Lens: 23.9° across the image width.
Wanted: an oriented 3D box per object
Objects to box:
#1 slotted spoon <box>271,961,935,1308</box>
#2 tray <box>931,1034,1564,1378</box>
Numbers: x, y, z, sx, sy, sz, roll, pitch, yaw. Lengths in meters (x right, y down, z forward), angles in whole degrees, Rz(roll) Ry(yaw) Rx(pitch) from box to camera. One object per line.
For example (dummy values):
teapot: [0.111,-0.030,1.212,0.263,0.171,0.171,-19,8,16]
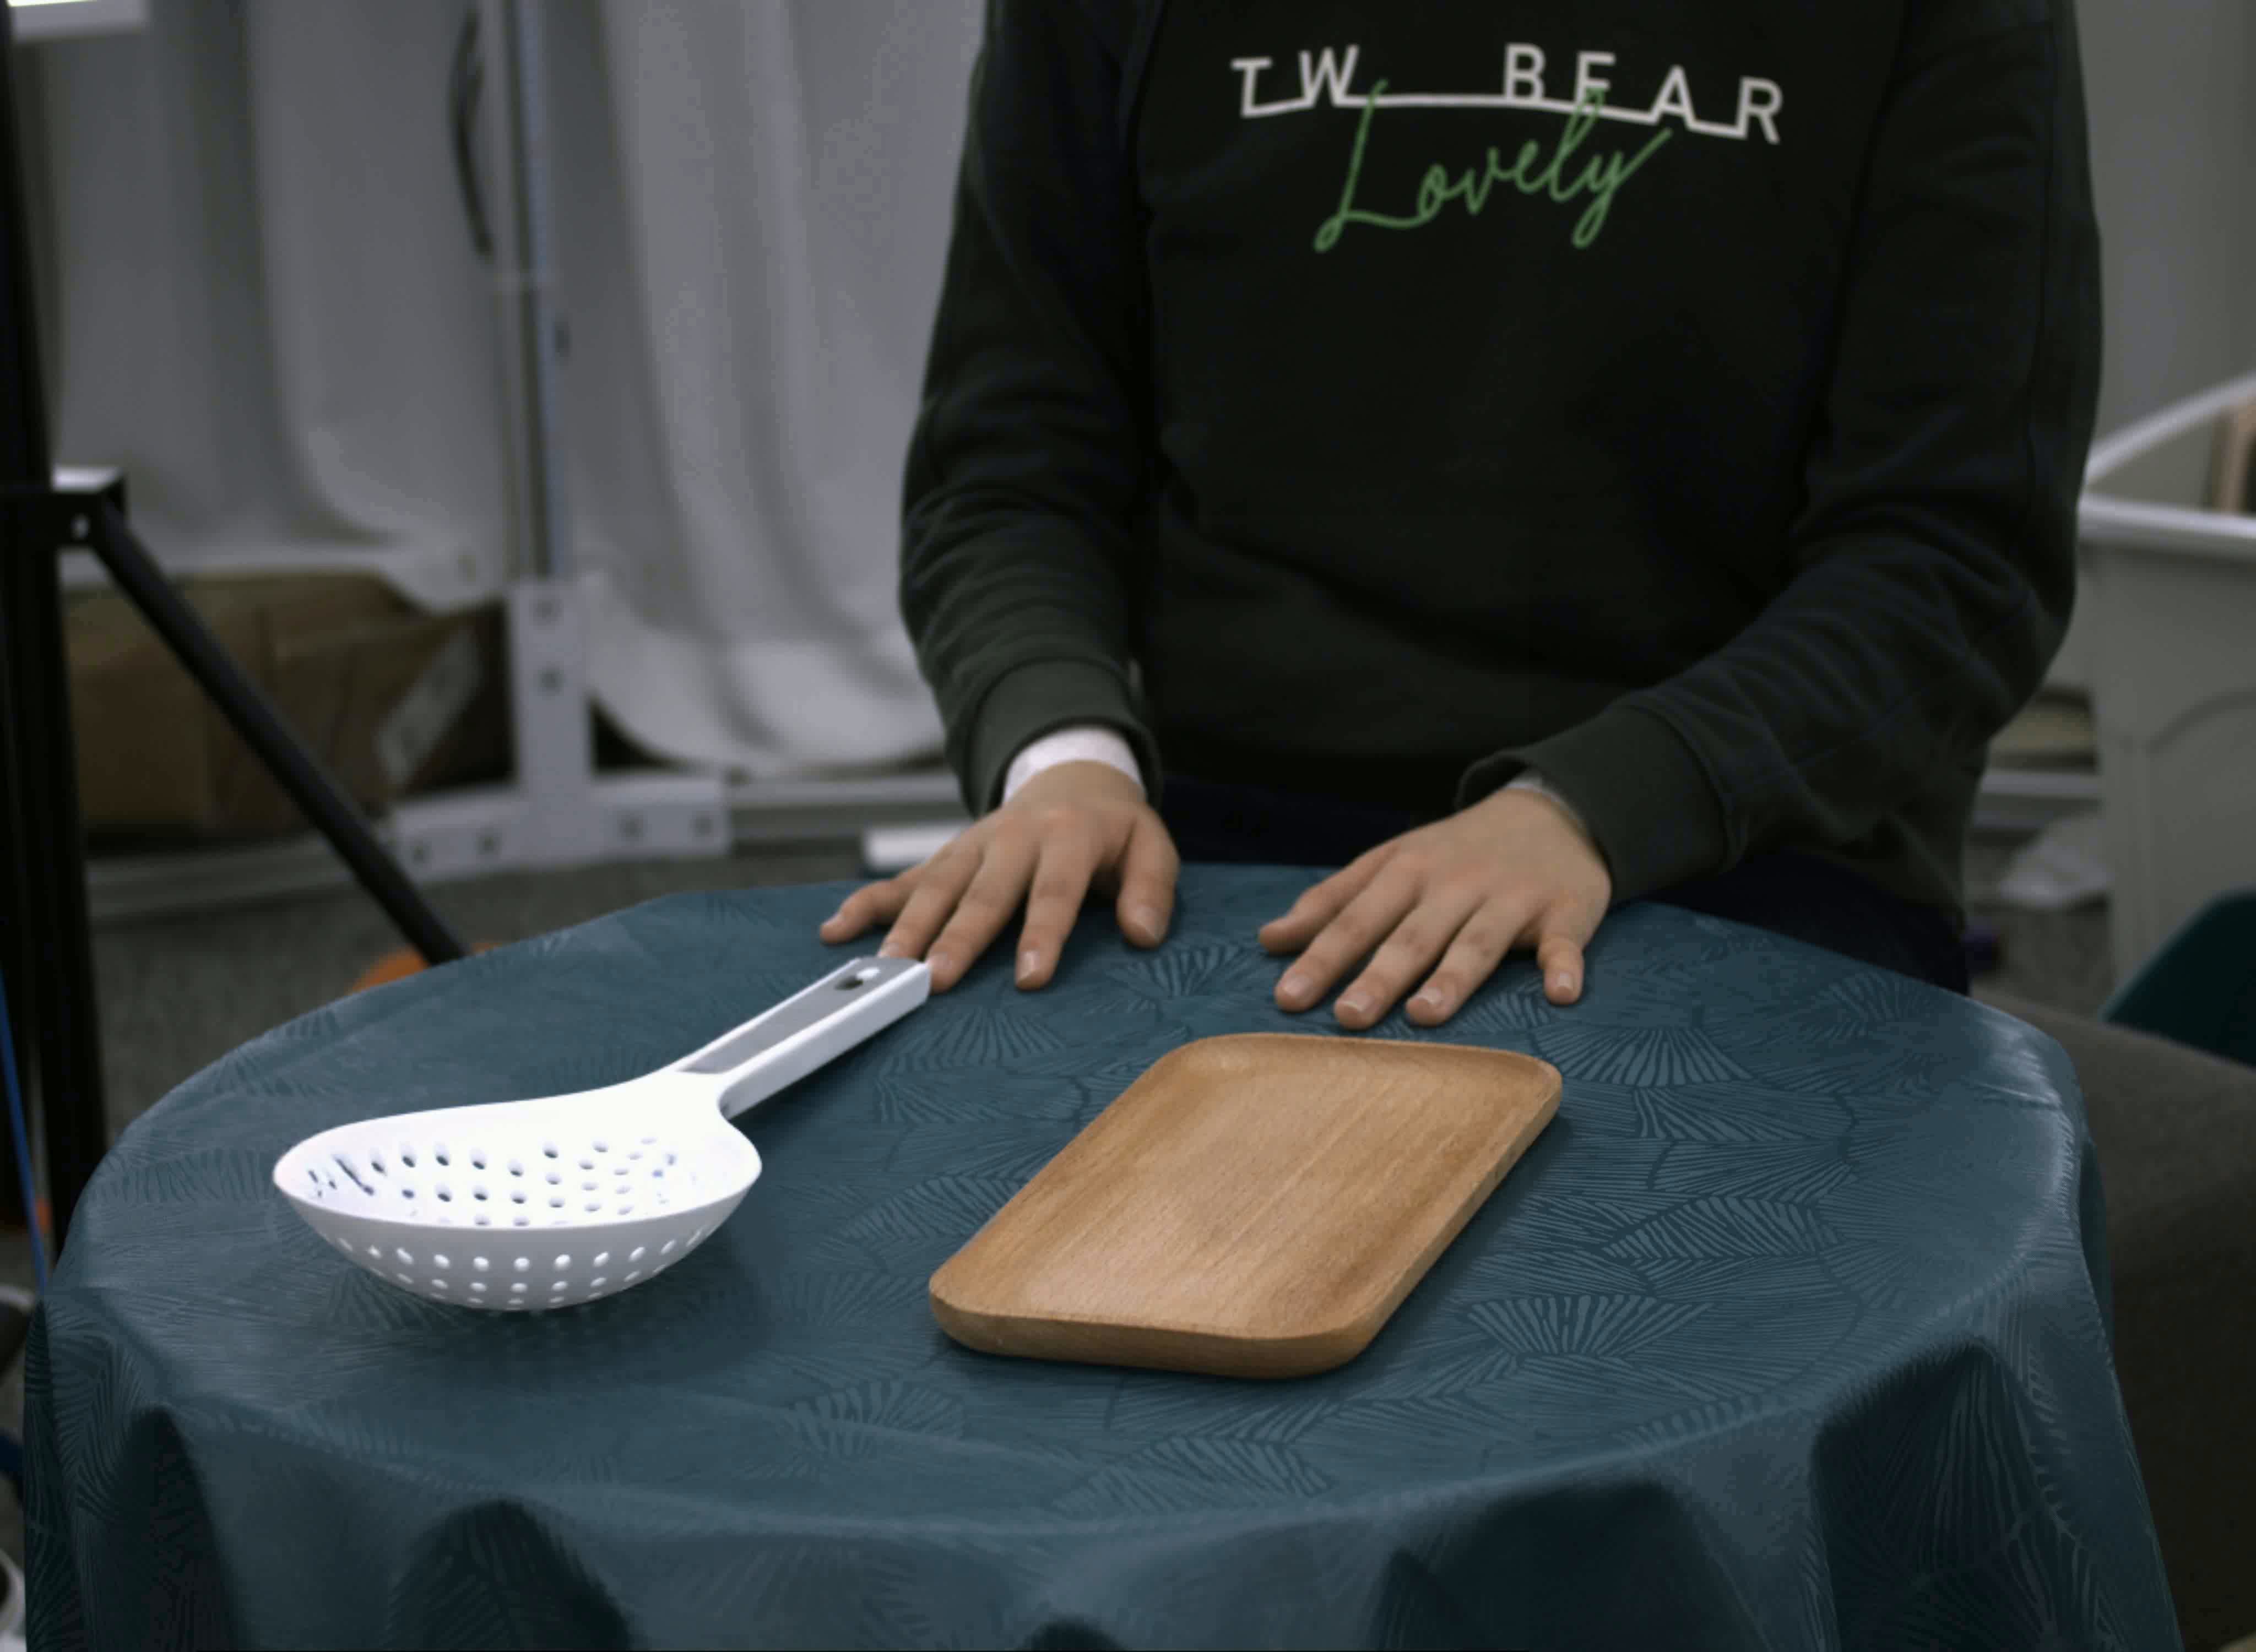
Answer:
slotted spoon: [-0.134,0.082,1.588,0.137,0.046,0.345,6,17,20]
tray: [0.039,0.106,1.527,0.132,0.023,0.247,5,17,19]
